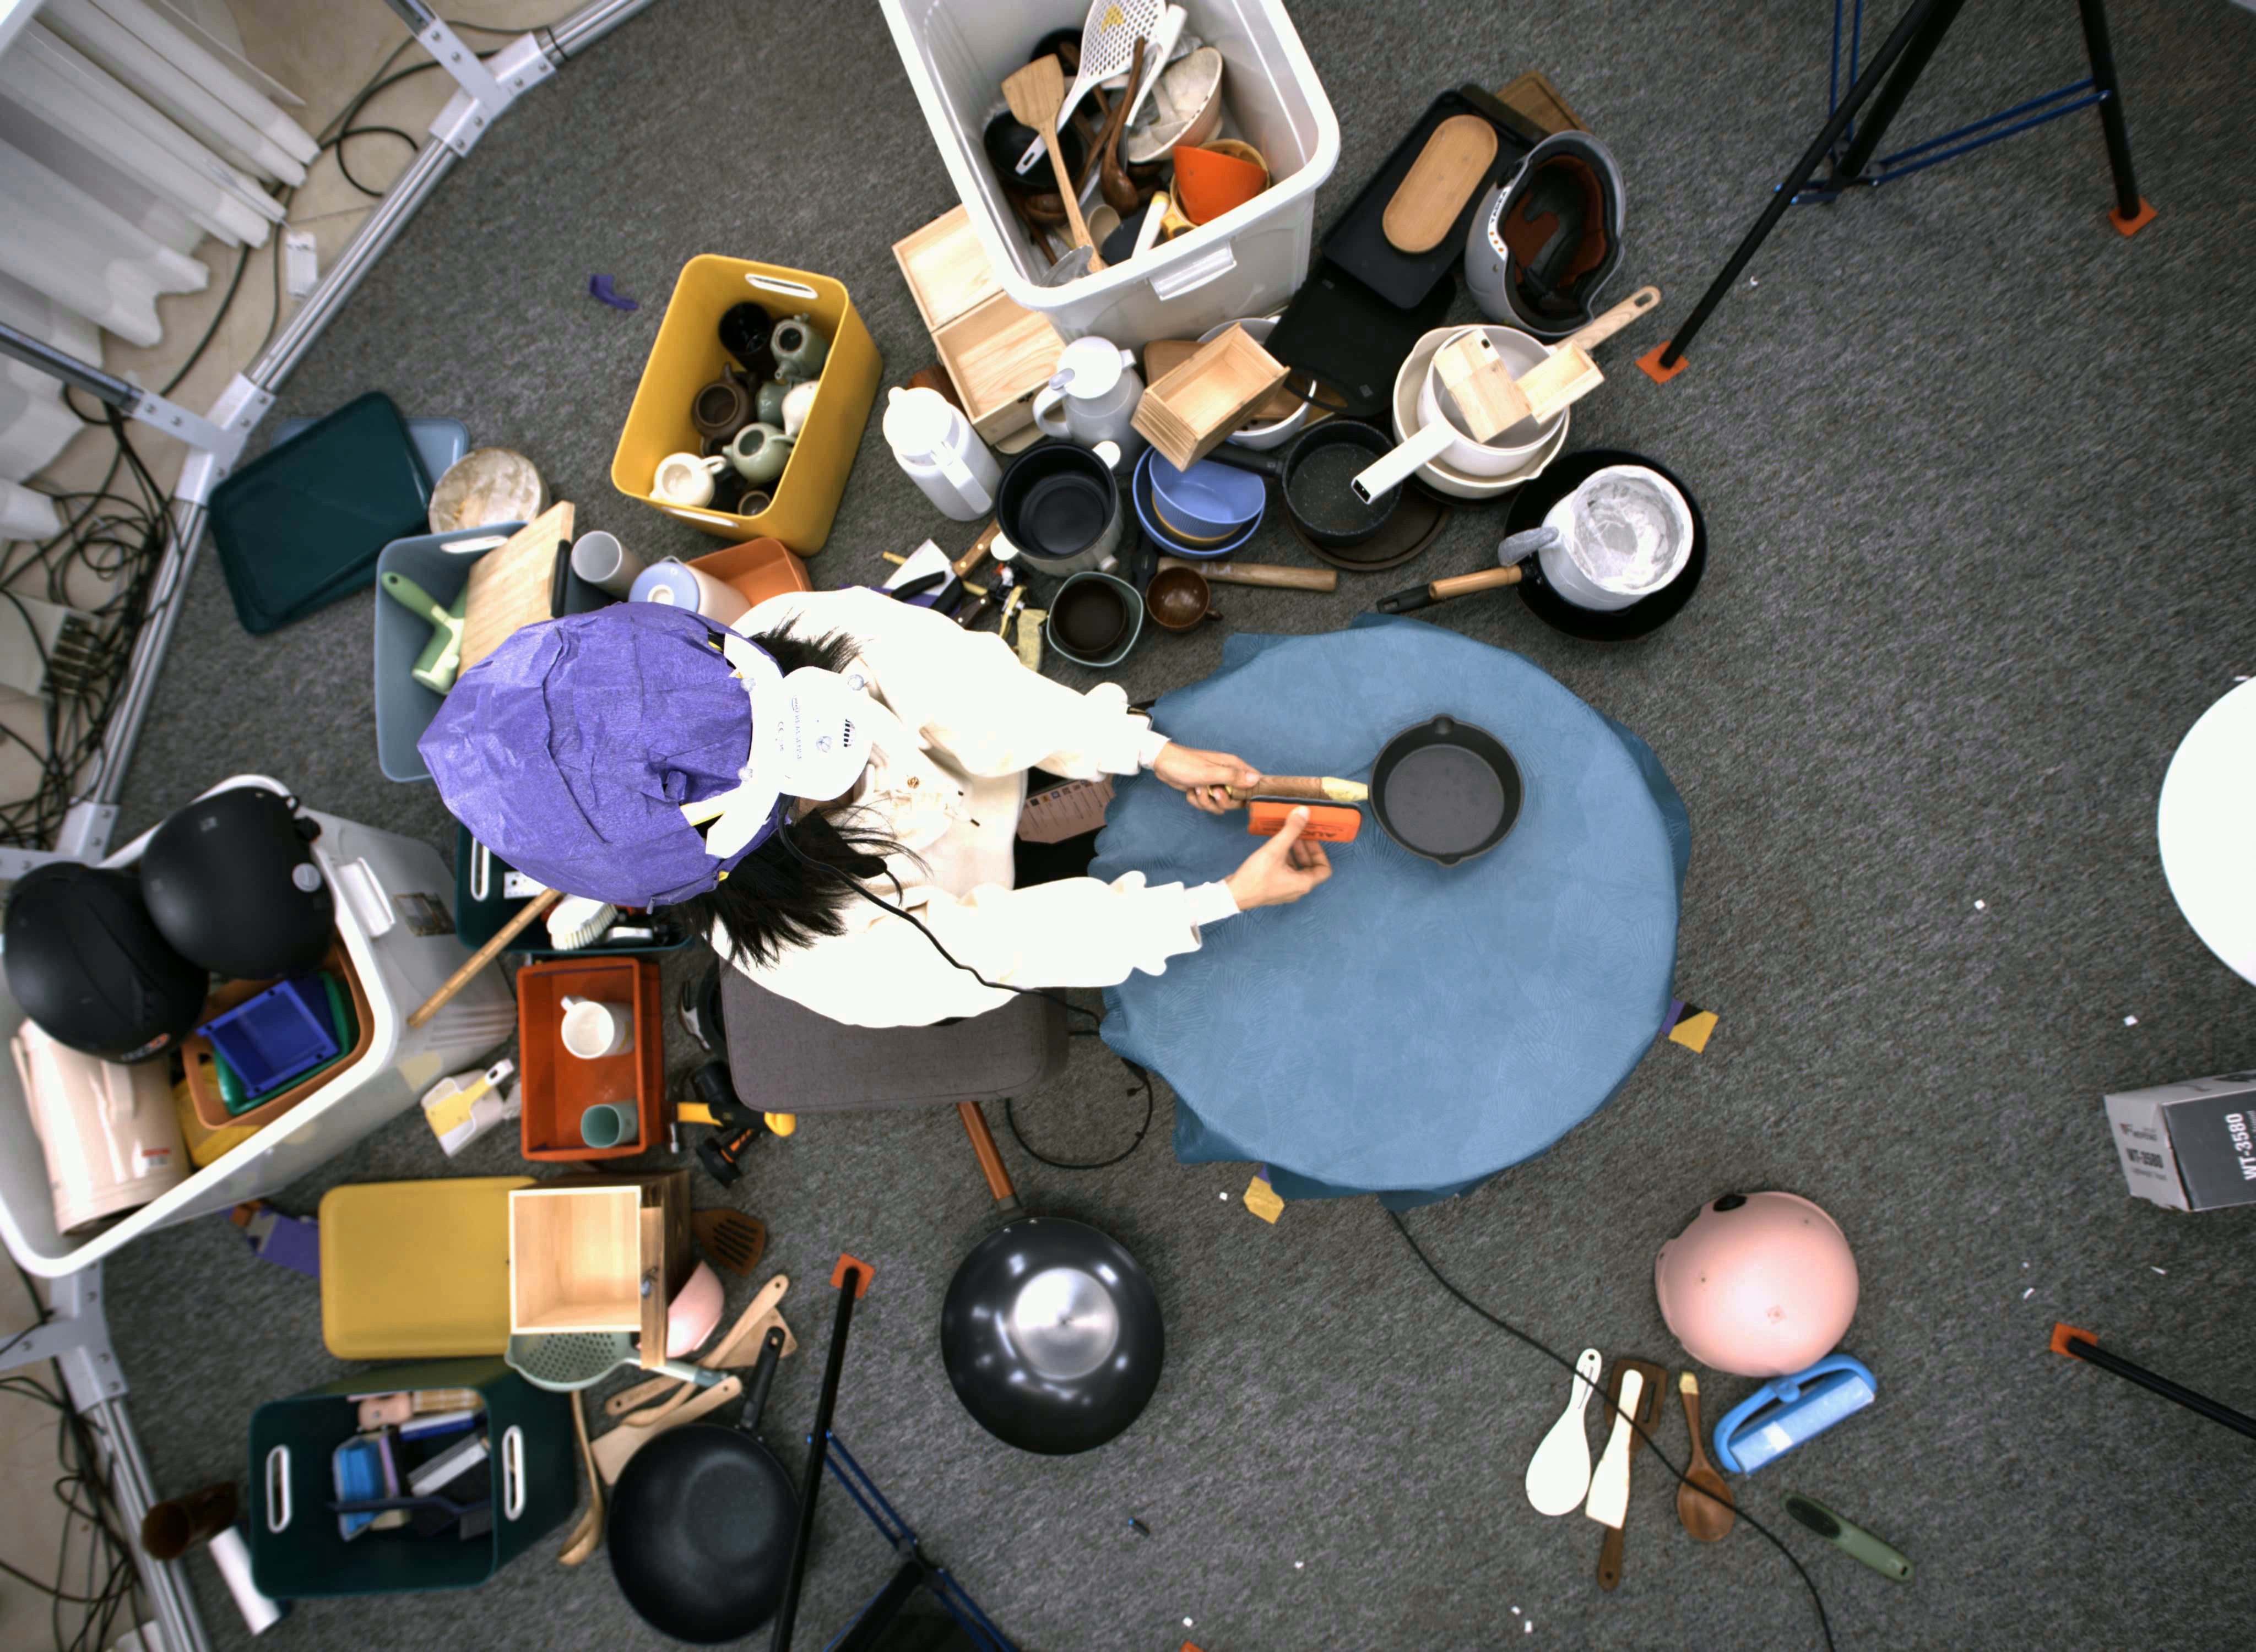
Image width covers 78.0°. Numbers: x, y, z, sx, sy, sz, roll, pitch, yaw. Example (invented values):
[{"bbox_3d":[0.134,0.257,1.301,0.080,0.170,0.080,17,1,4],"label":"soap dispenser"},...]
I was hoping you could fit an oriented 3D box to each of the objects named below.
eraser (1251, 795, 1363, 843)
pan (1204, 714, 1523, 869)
[{"bbox_3d":[0.179,-0.007,1.389,0.108,0.060,0.022,6,70,3],"label":"eraser"},{"bbox_3d":[0.241,-0.038,1.425,0.325,0.050,0.166,2,73,7],"label":"pan"}]
